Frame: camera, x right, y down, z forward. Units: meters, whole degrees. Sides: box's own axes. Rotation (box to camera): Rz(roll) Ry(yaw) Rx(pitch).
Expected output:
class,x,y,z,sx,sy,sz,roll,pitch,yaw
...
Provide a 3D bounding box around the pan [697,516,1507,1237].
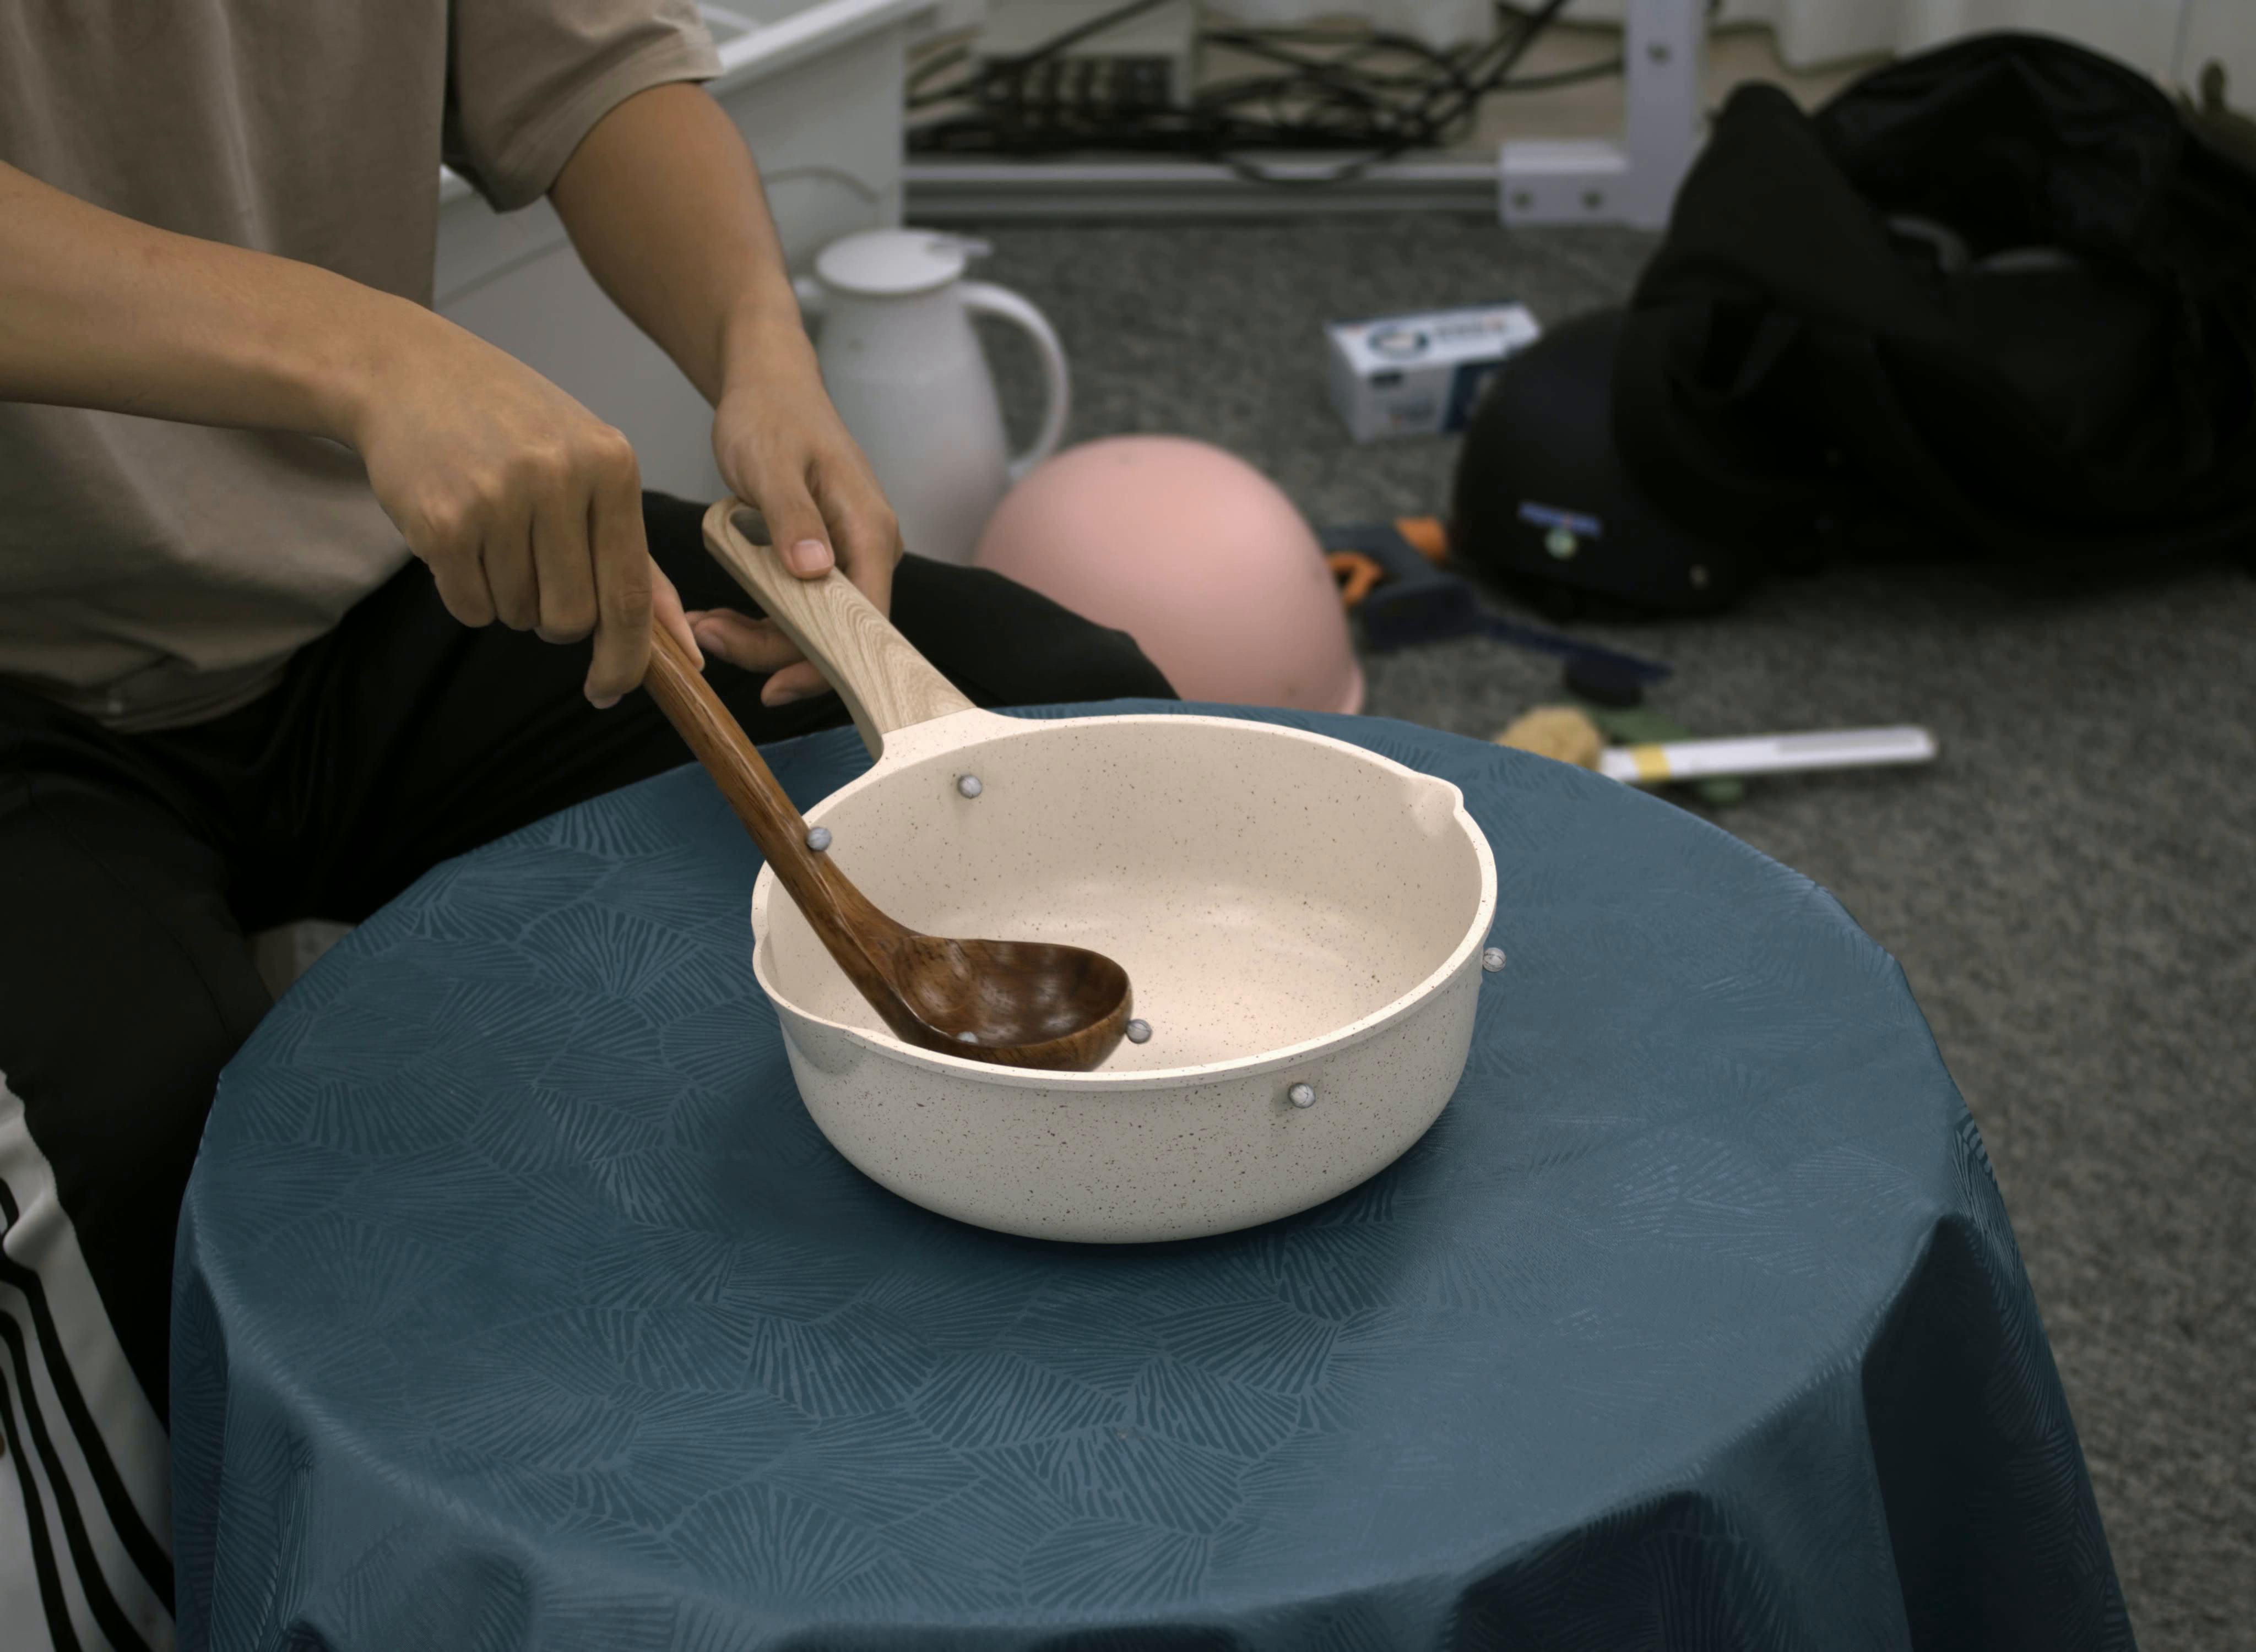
class,x,y,z,sx,sy,sz,roll,pitch,yaw
pan,-0.041,0.011,1.972,0.265,0.101,0.437,-18,31,-24

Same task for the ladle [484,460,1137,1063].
class,x,y,z,sx,sy,sz,roll,pitch,yaw
ladle,-0.099,-0.022,1.829,0.076,0.273,0.083,-33,10,18
